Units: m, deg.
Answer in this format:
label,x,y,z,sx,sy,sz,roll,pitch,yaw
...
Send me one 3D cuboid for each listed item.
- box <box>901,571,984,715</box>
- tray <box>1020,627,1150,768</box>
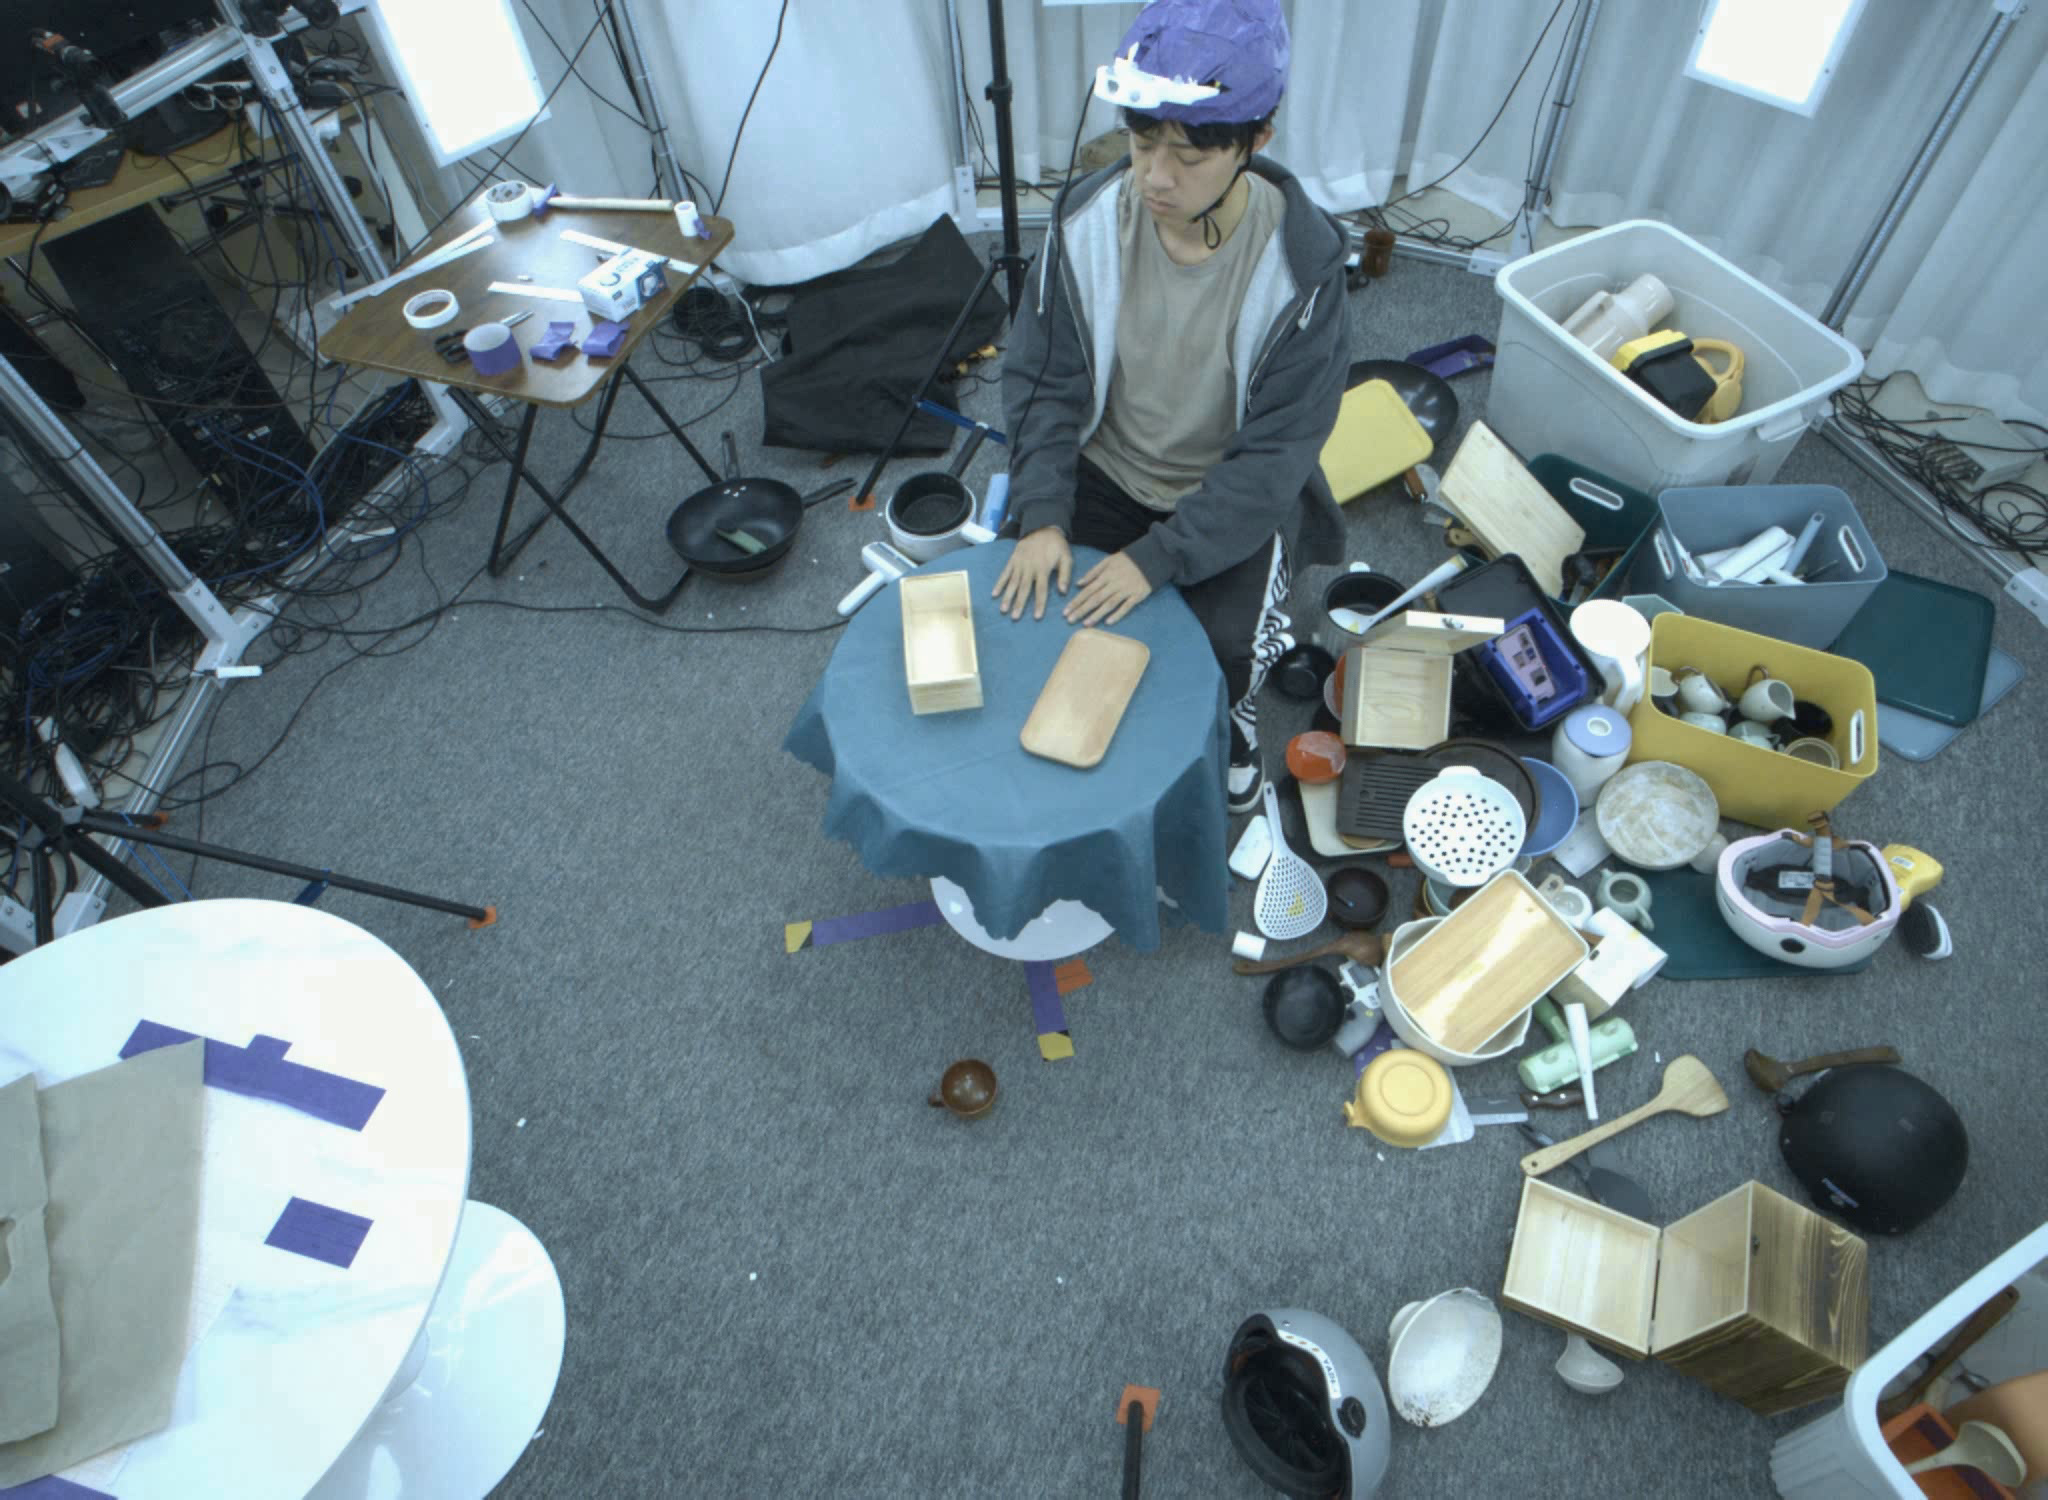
label,x,y,z,sx,sy,sz,roll,pitch,yaw
box,-0.125,-0.165,1.863,0.108,0.081,0.208,-7,55,-2
tray,0.093,-0.081,1.833,0.129,0.023,0.251,20,57,12
